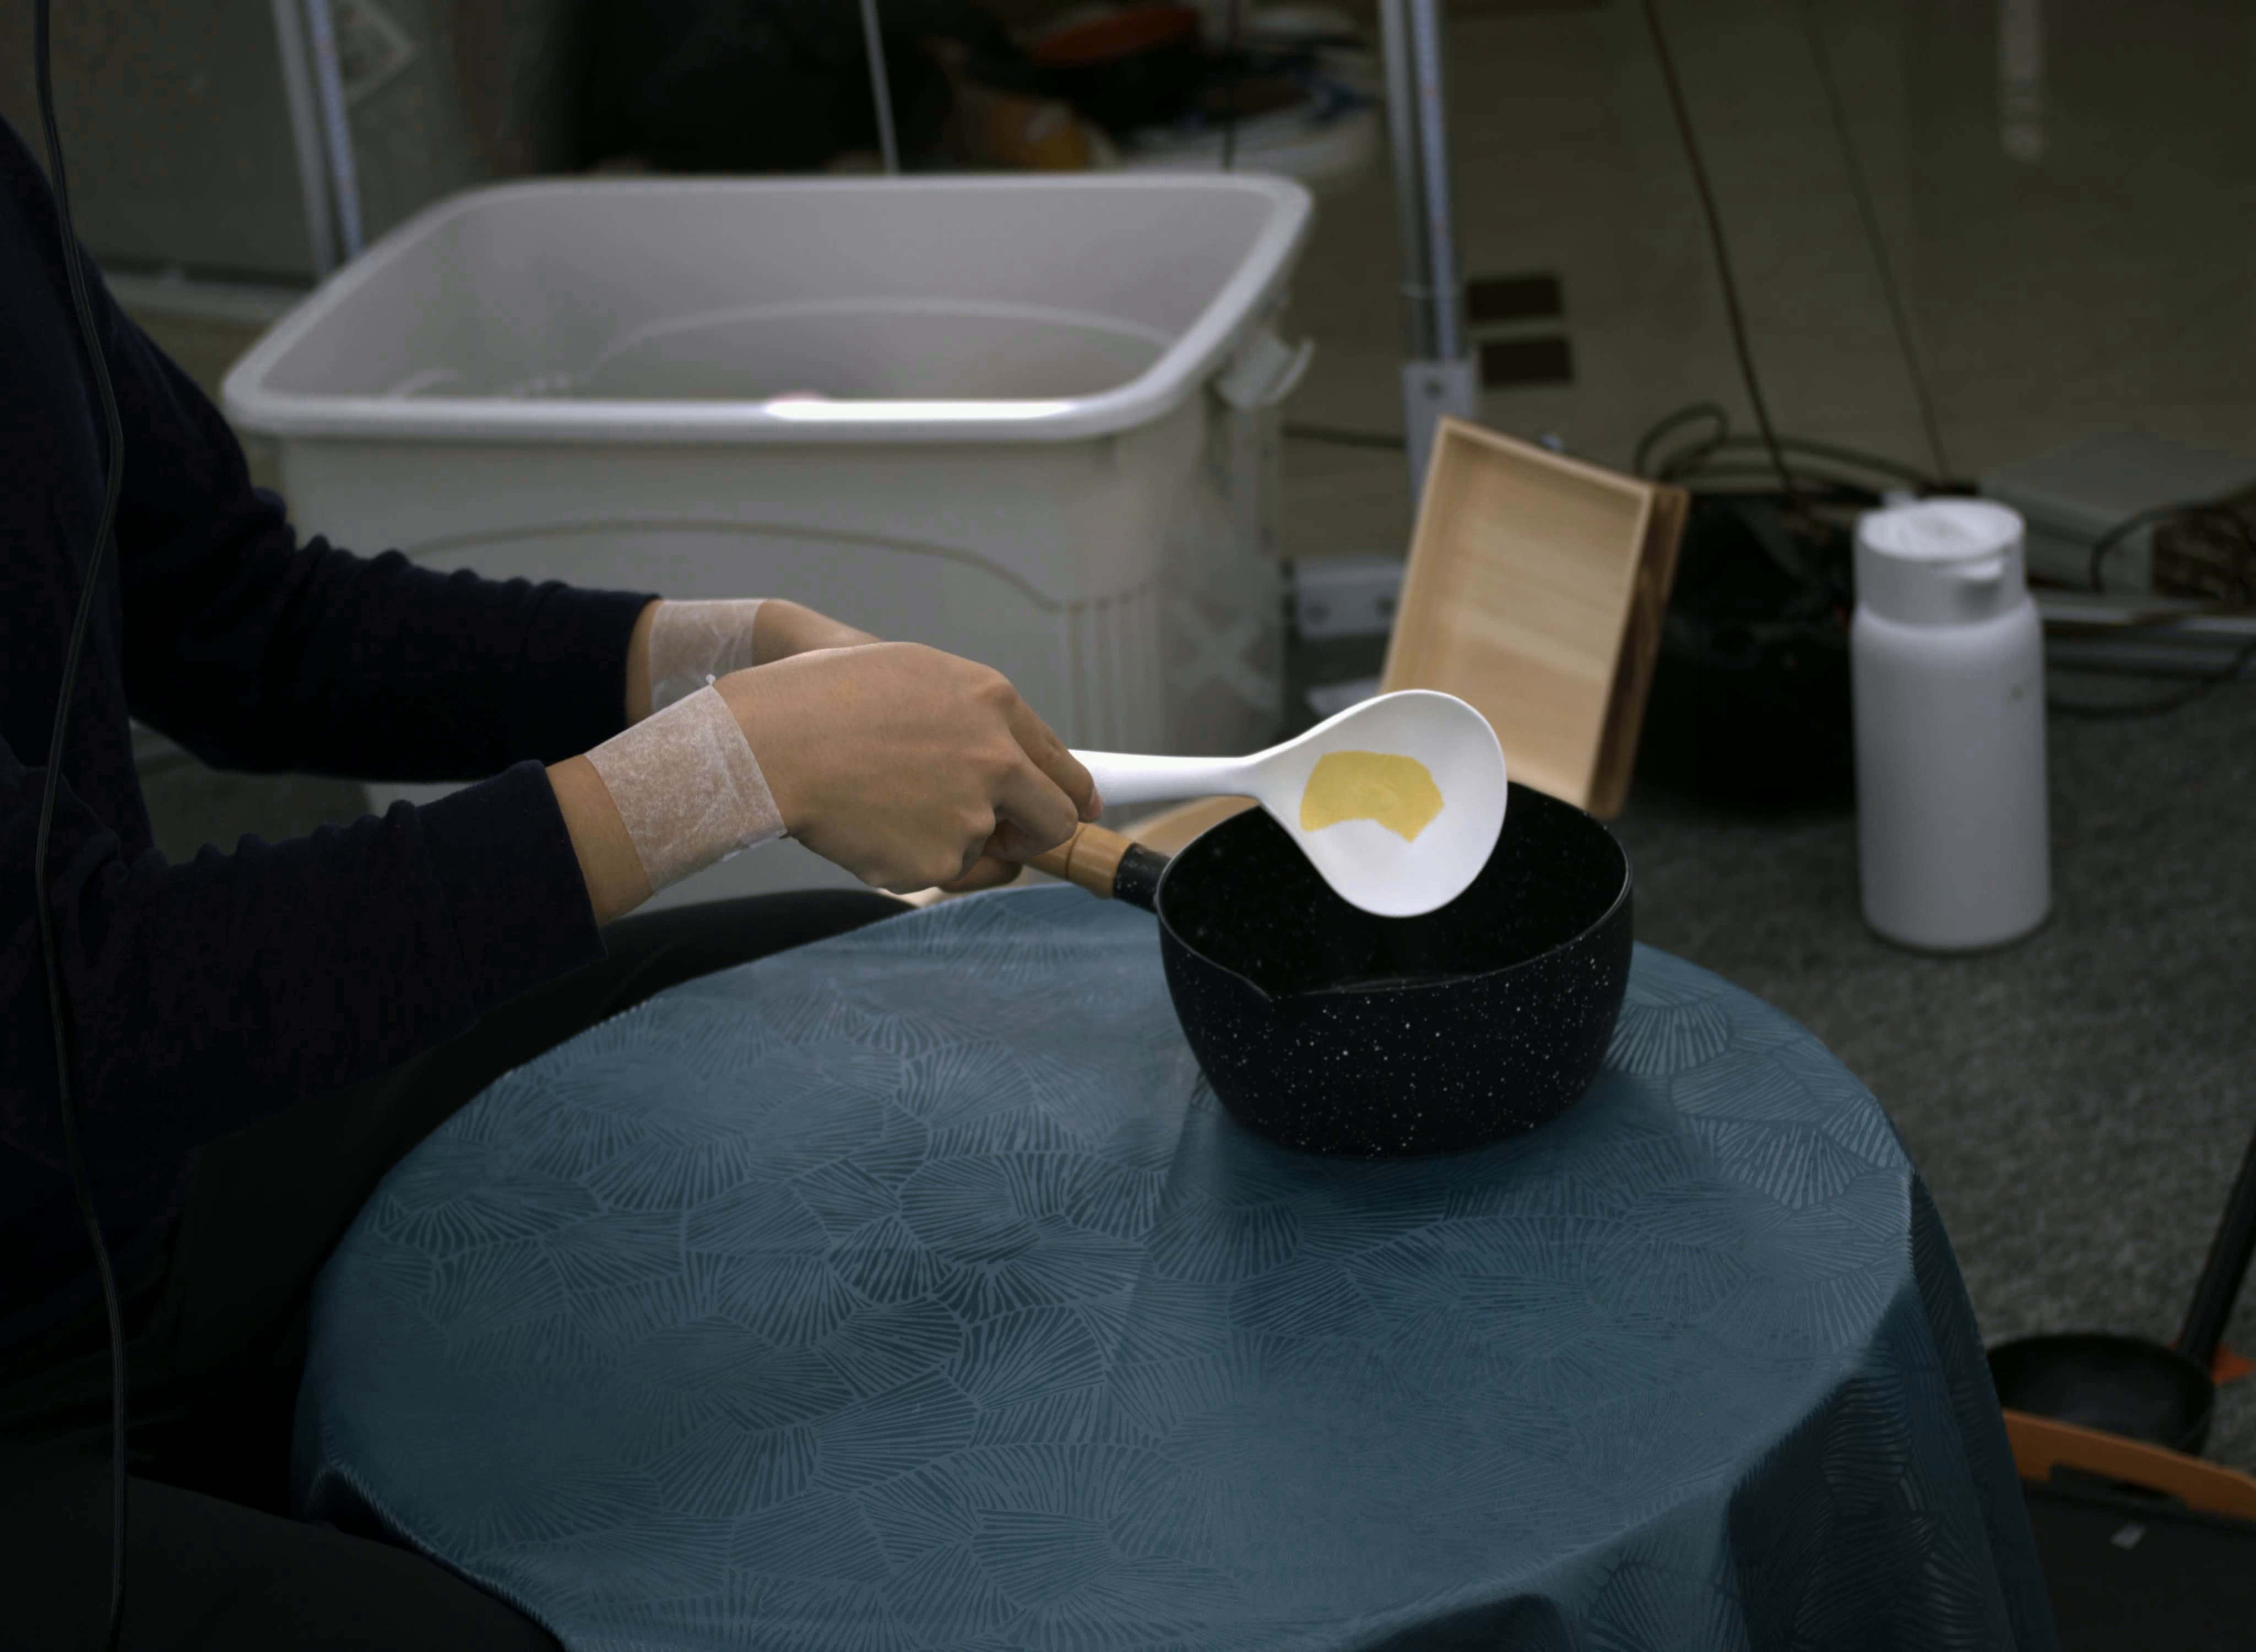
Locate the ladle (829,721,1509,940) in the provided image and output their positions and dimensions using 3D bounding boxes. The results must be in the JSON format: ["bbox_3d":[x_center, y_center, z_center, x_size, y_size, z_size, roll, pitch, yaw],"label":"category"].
[{"bbox_3d":[0.018,-0.003,2.084,0.293,0.091,0.069,1,26,-46],"label":"ladle"}]

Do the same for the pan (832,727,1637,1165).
[{"bbox_3d":[0.034,0.037,2.222,0.341,0.110,0.205,10,31,26],"label":"pan"}]
